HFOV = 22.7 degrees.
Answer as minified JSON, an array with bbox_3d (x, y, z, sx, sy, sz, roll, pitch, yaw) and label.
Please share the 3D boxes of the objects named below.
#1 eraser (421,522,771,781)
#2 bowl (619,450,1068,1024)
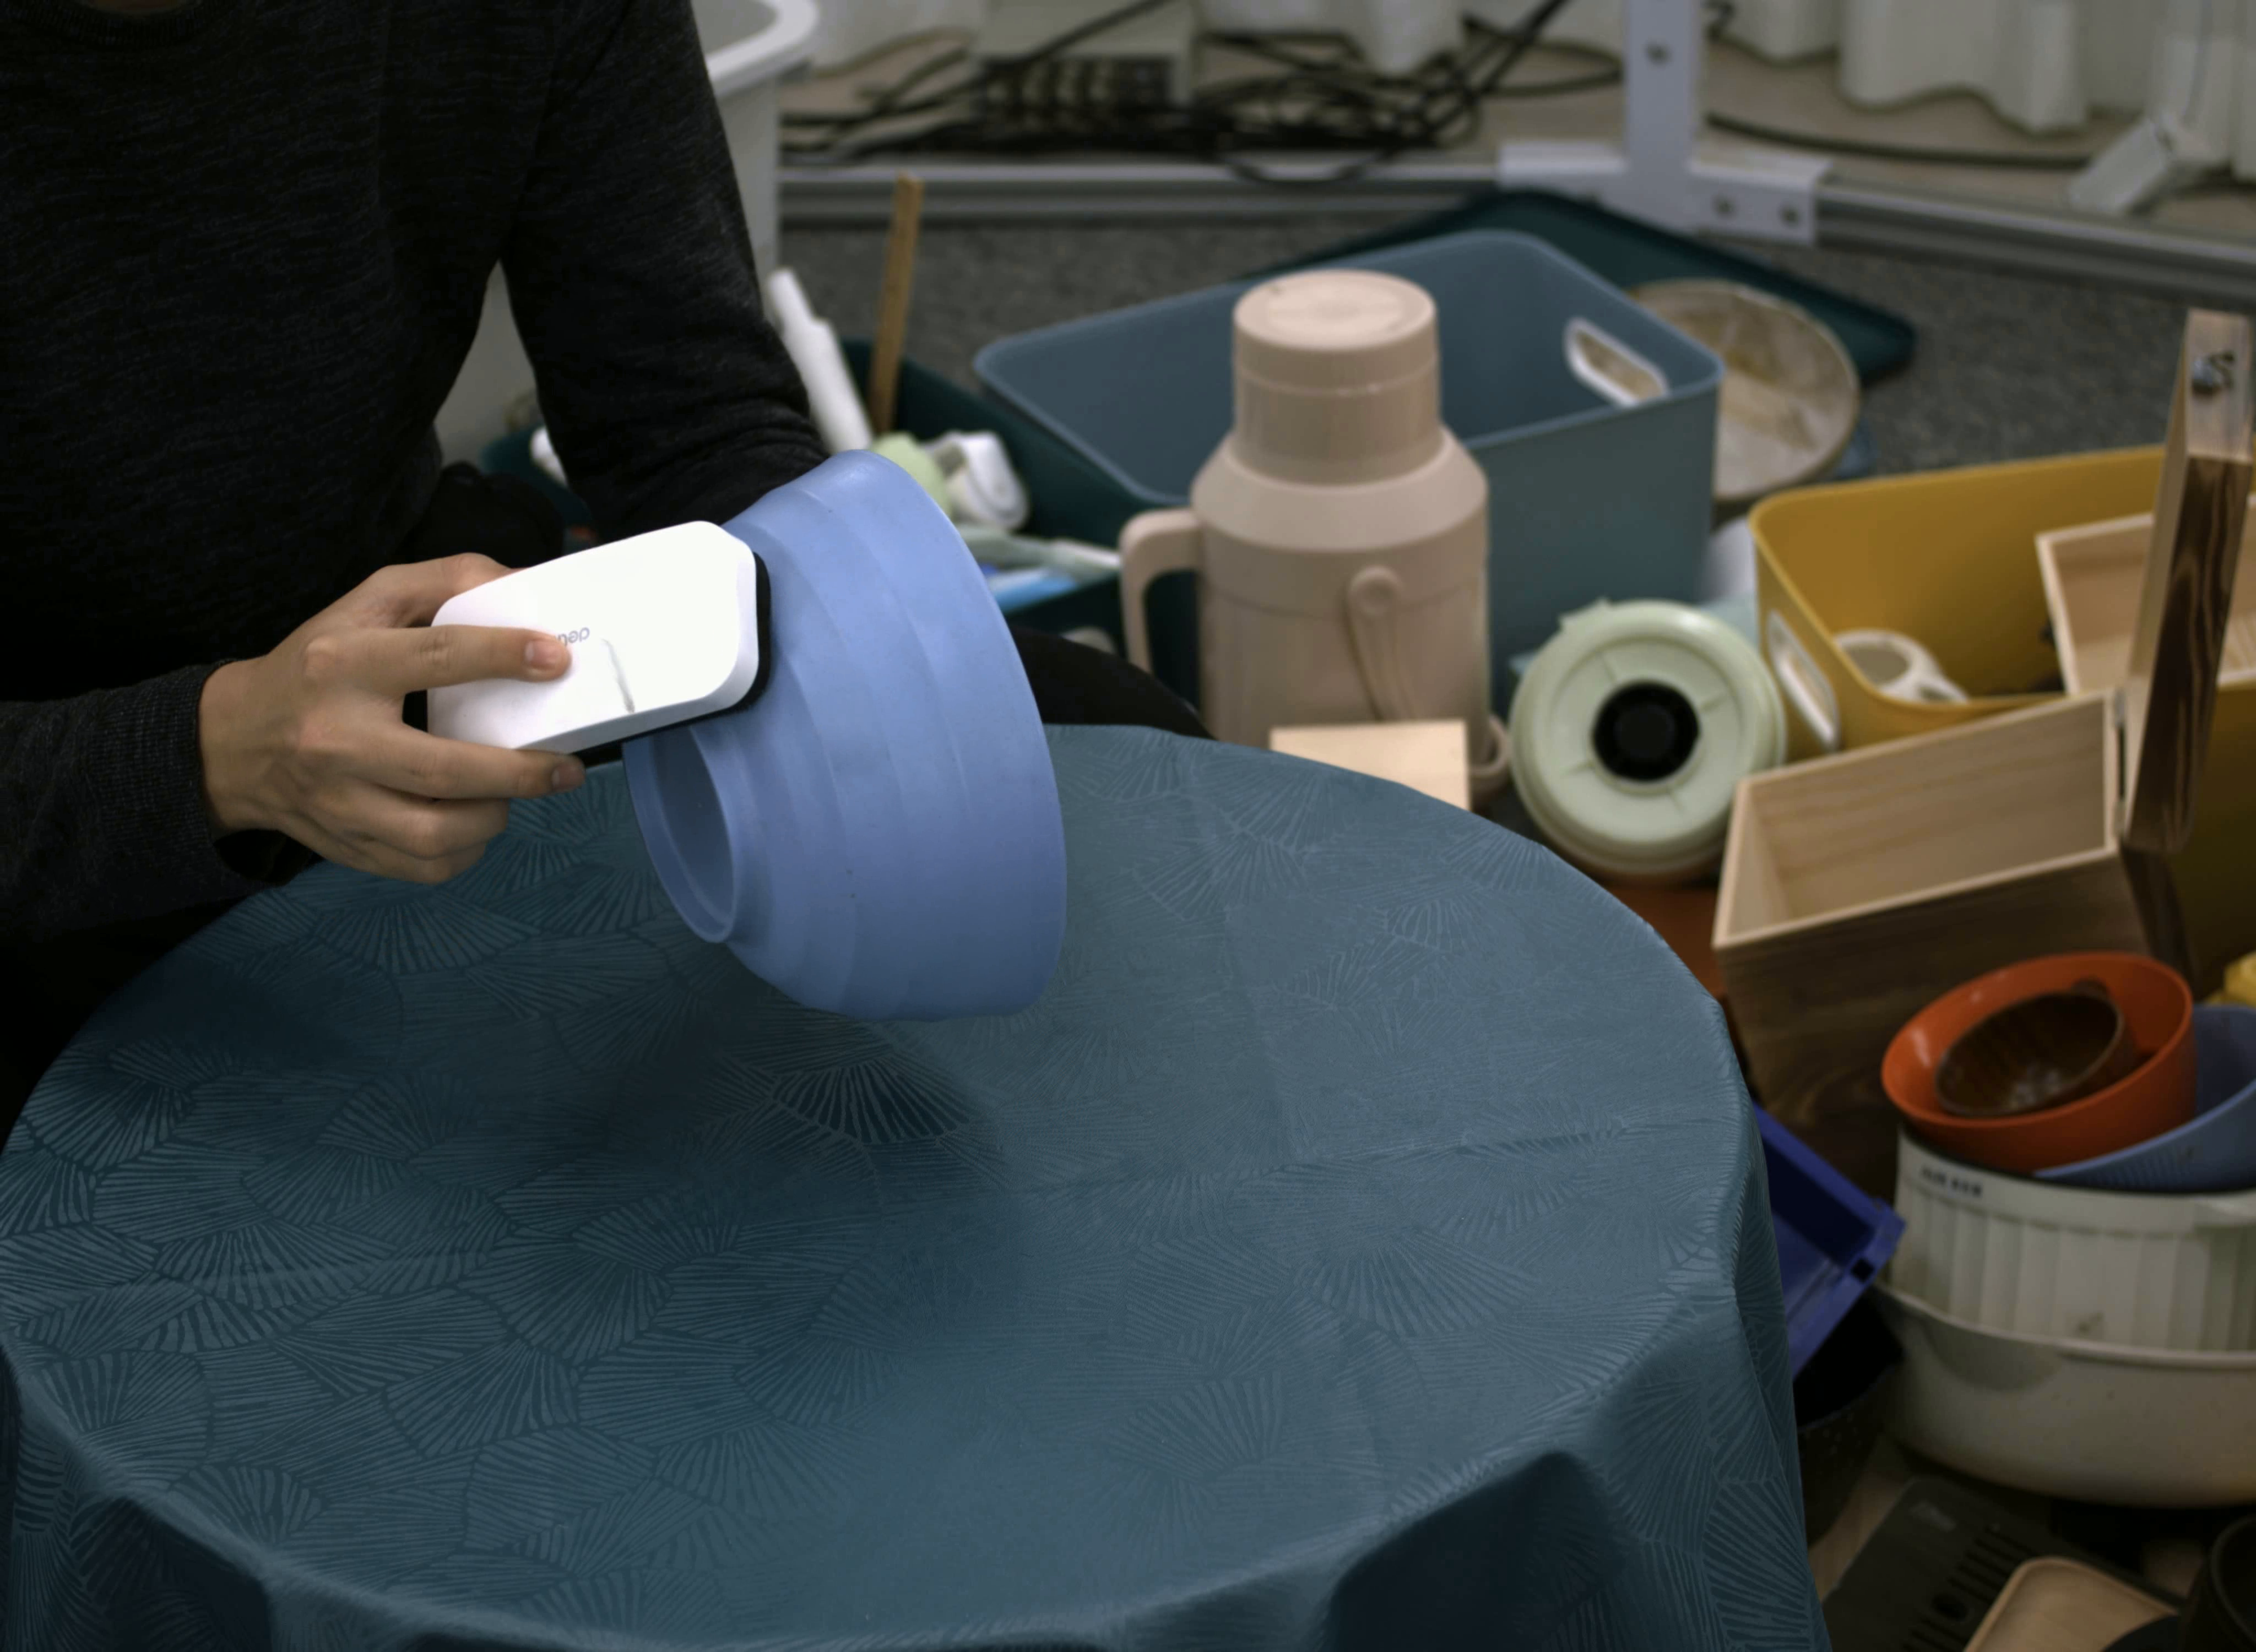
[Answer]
[{"bbox_3d":[-0.174,-0.056,1.822,0.129,0.064,0.034,-14,-24,30],"label":"eraser"},{"bbox_3d":[-0.107,-0.018,1.861,0.096,0.194,0.197,-18,30,-23],"label":"bowl"}]
